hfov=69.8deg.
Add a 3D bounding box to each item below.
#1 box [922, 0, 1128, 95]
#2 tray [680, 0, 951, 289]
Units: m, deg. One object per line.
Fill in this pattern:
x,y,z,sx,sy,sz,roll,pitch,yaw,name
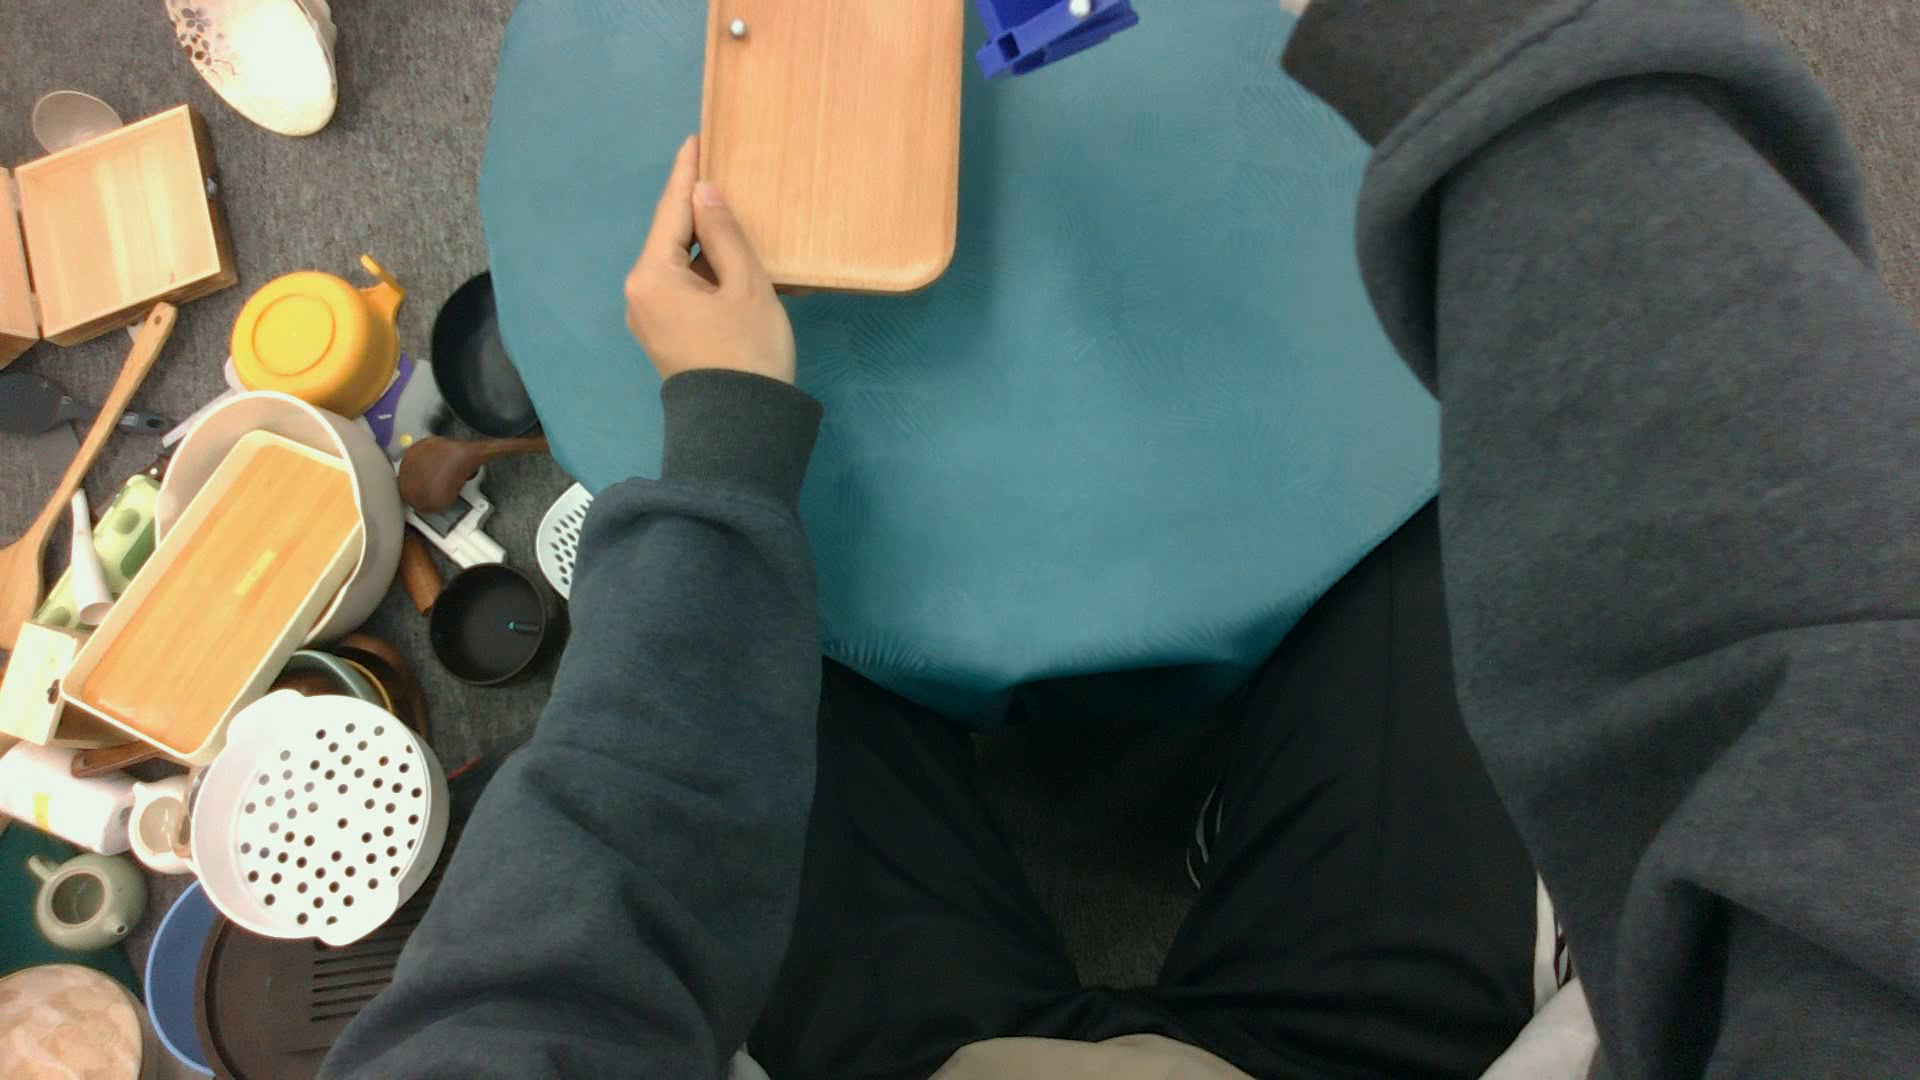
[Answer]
0.034,-0.262,0.548,0.179,0.082,0.124,-11,110,44,box
-0.069,-0.246,0.697,0.130,0.023,0.251,2,78,-2,tray
